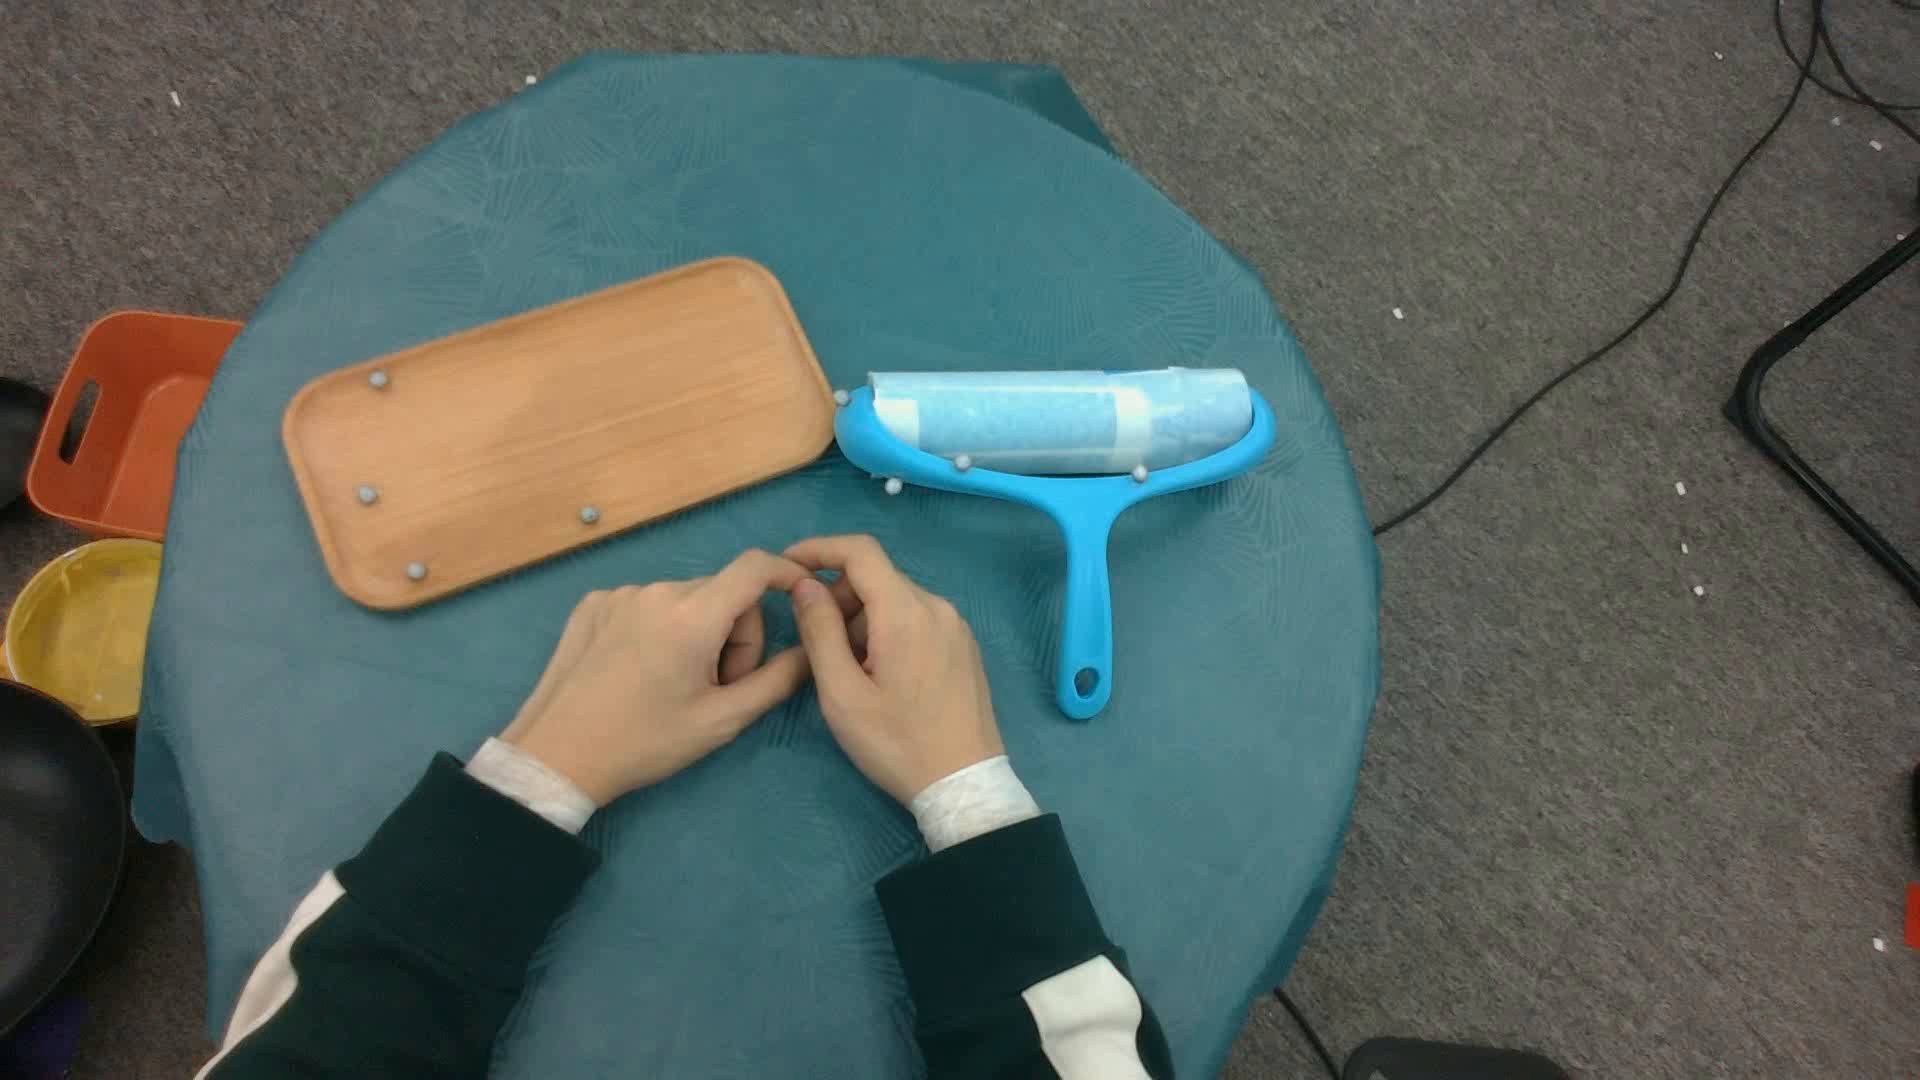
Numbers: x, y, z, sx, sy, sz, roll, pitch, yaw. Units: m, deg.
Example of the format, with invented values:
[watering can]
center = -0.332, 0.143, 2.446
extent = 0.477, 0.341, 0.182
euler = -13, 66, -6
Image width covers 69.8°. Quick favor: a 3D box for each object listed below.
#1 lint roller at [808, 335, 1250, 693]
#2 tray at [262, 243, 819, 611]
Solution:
[lint roller]
center = 0.047, -0.019, 0.684
extent = 0.229, 0.067, 0.181
euler = -6, 69, -14
[tray]
center = -0.201, -0.060, 0.678
extent = 0.251, 0.023, 0.131
euler = -22, 77, -18
